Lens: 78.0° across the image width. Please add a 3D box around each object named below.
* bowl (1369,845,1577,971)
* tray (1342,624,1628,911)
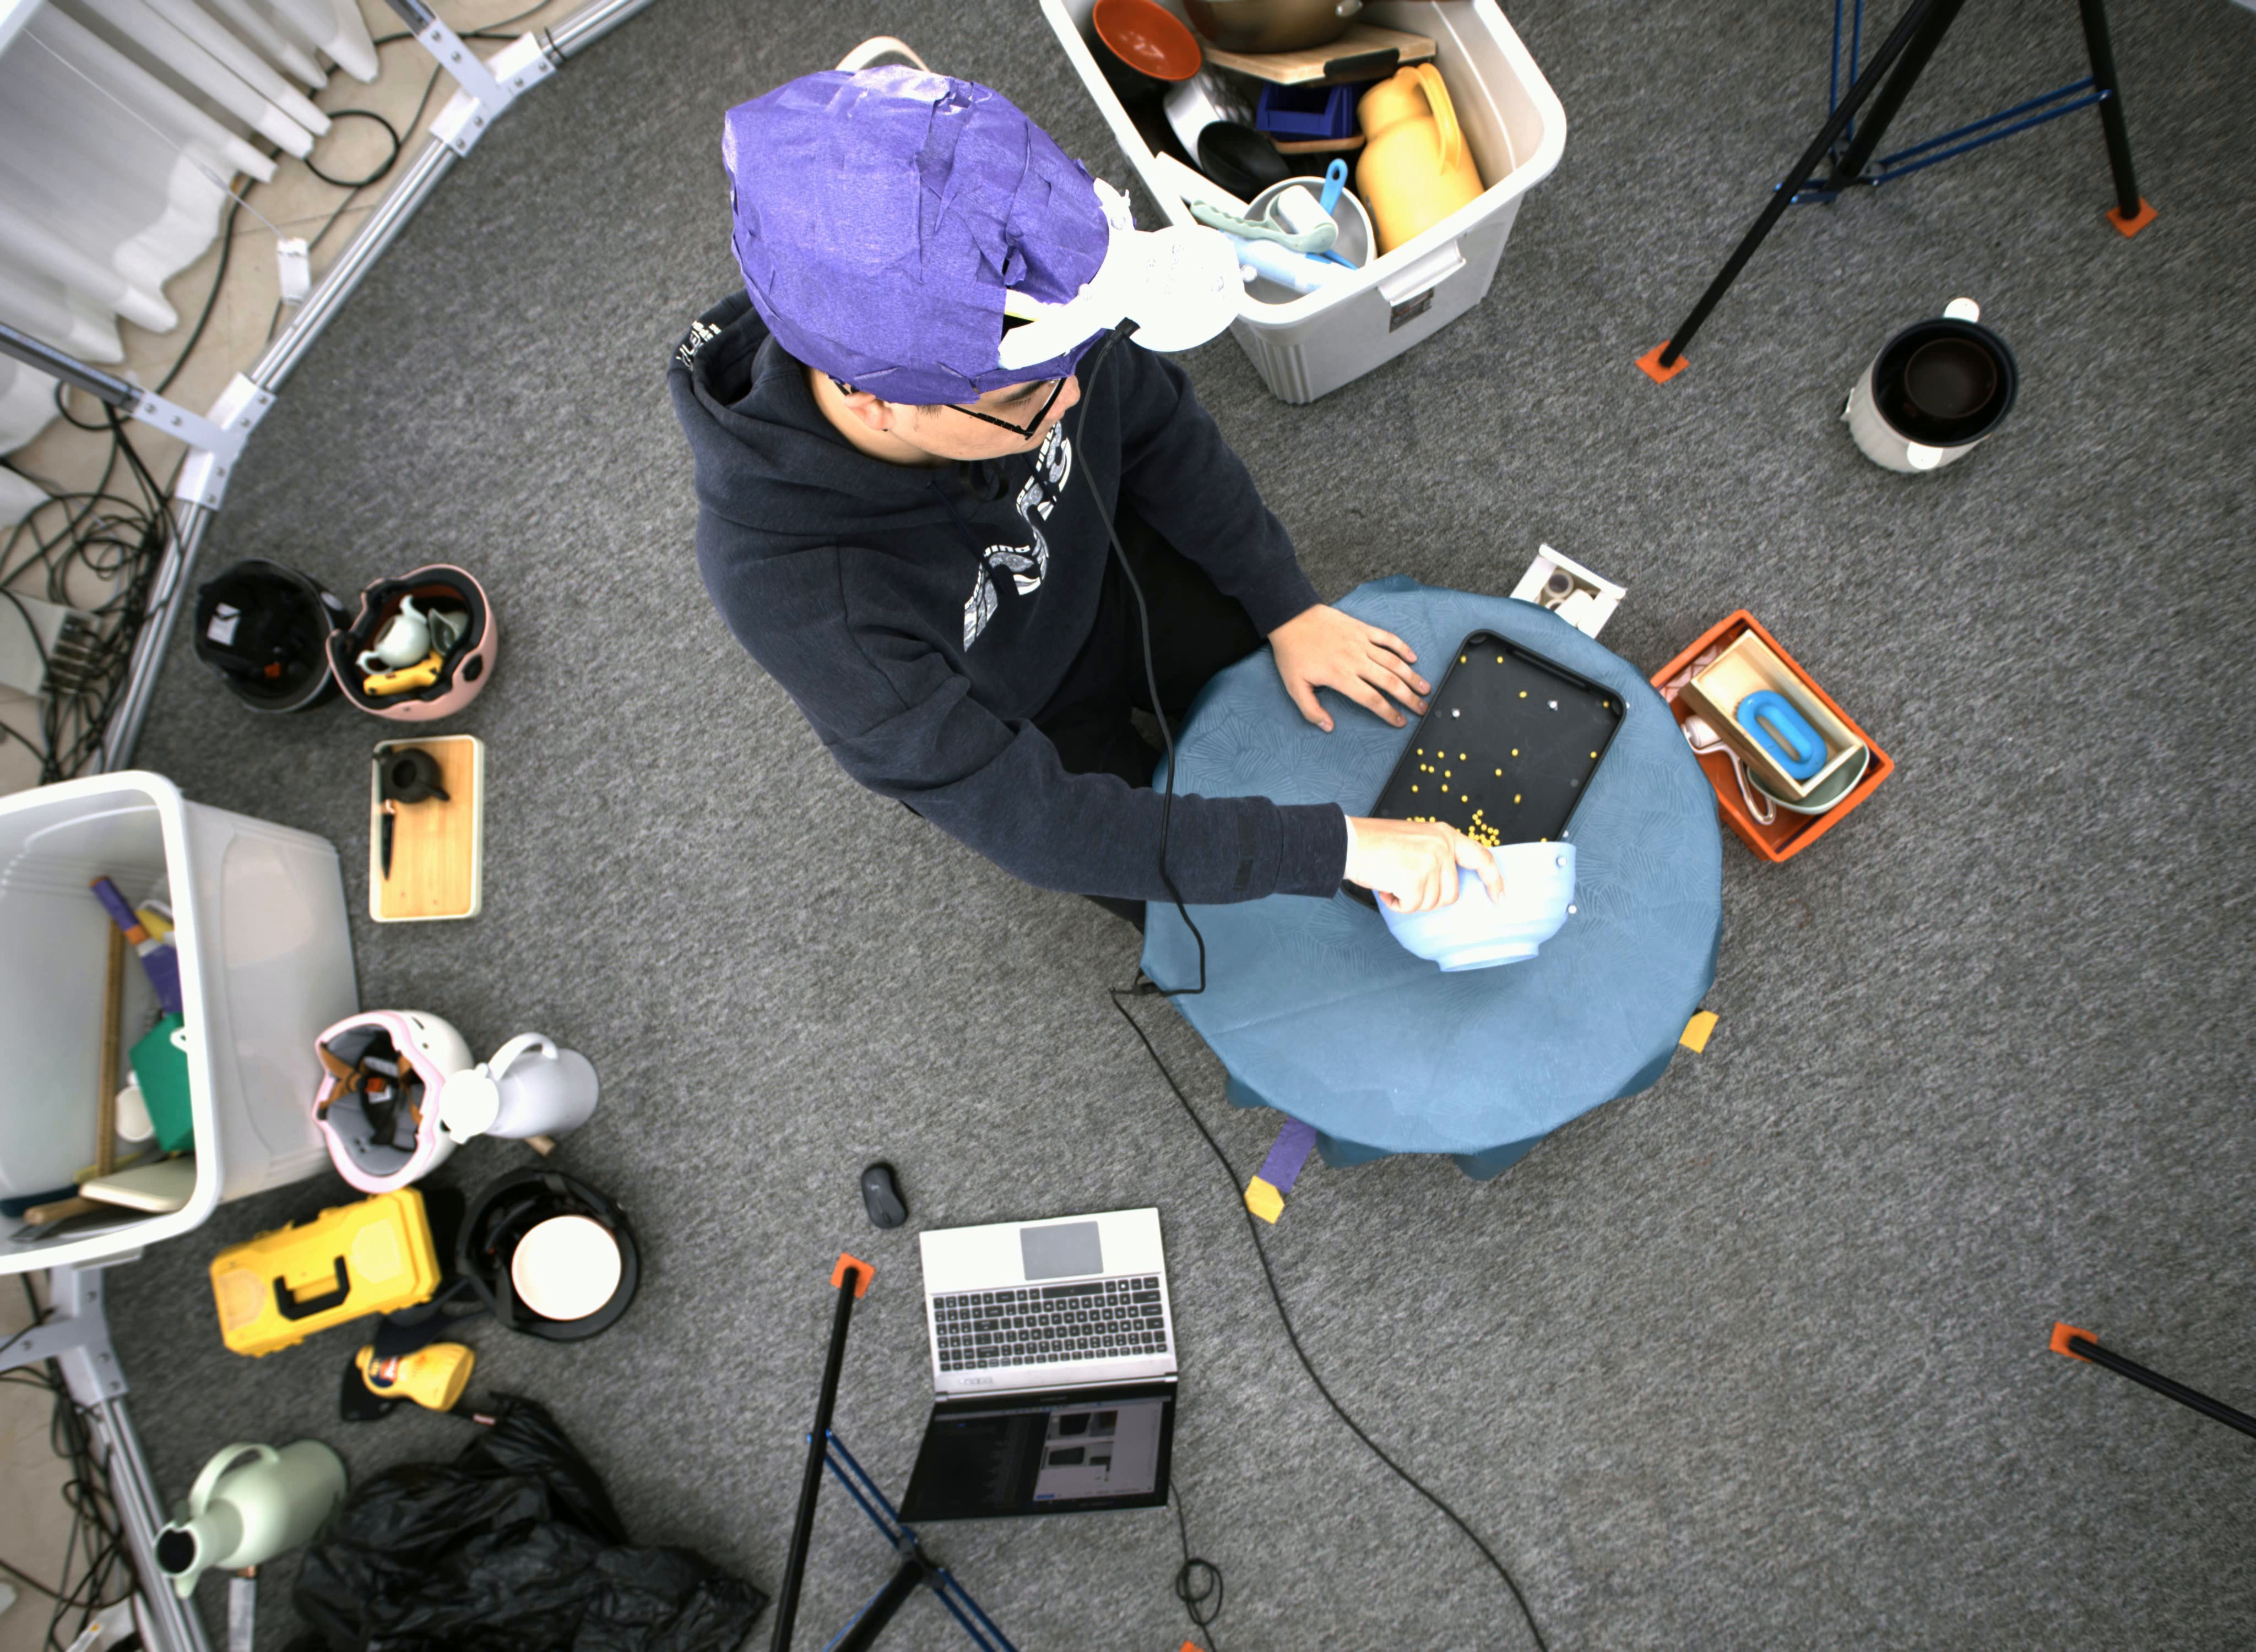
[{"bbox_3d":[0.334,0.083,1.308,0.197,0.197,0.094,-9,79,9],"label":"bowl"},{"bbox_3d":[0.370,-0.038,1.431,0.184,0.037,0.318,27,93,12],"label":"tray"}]
